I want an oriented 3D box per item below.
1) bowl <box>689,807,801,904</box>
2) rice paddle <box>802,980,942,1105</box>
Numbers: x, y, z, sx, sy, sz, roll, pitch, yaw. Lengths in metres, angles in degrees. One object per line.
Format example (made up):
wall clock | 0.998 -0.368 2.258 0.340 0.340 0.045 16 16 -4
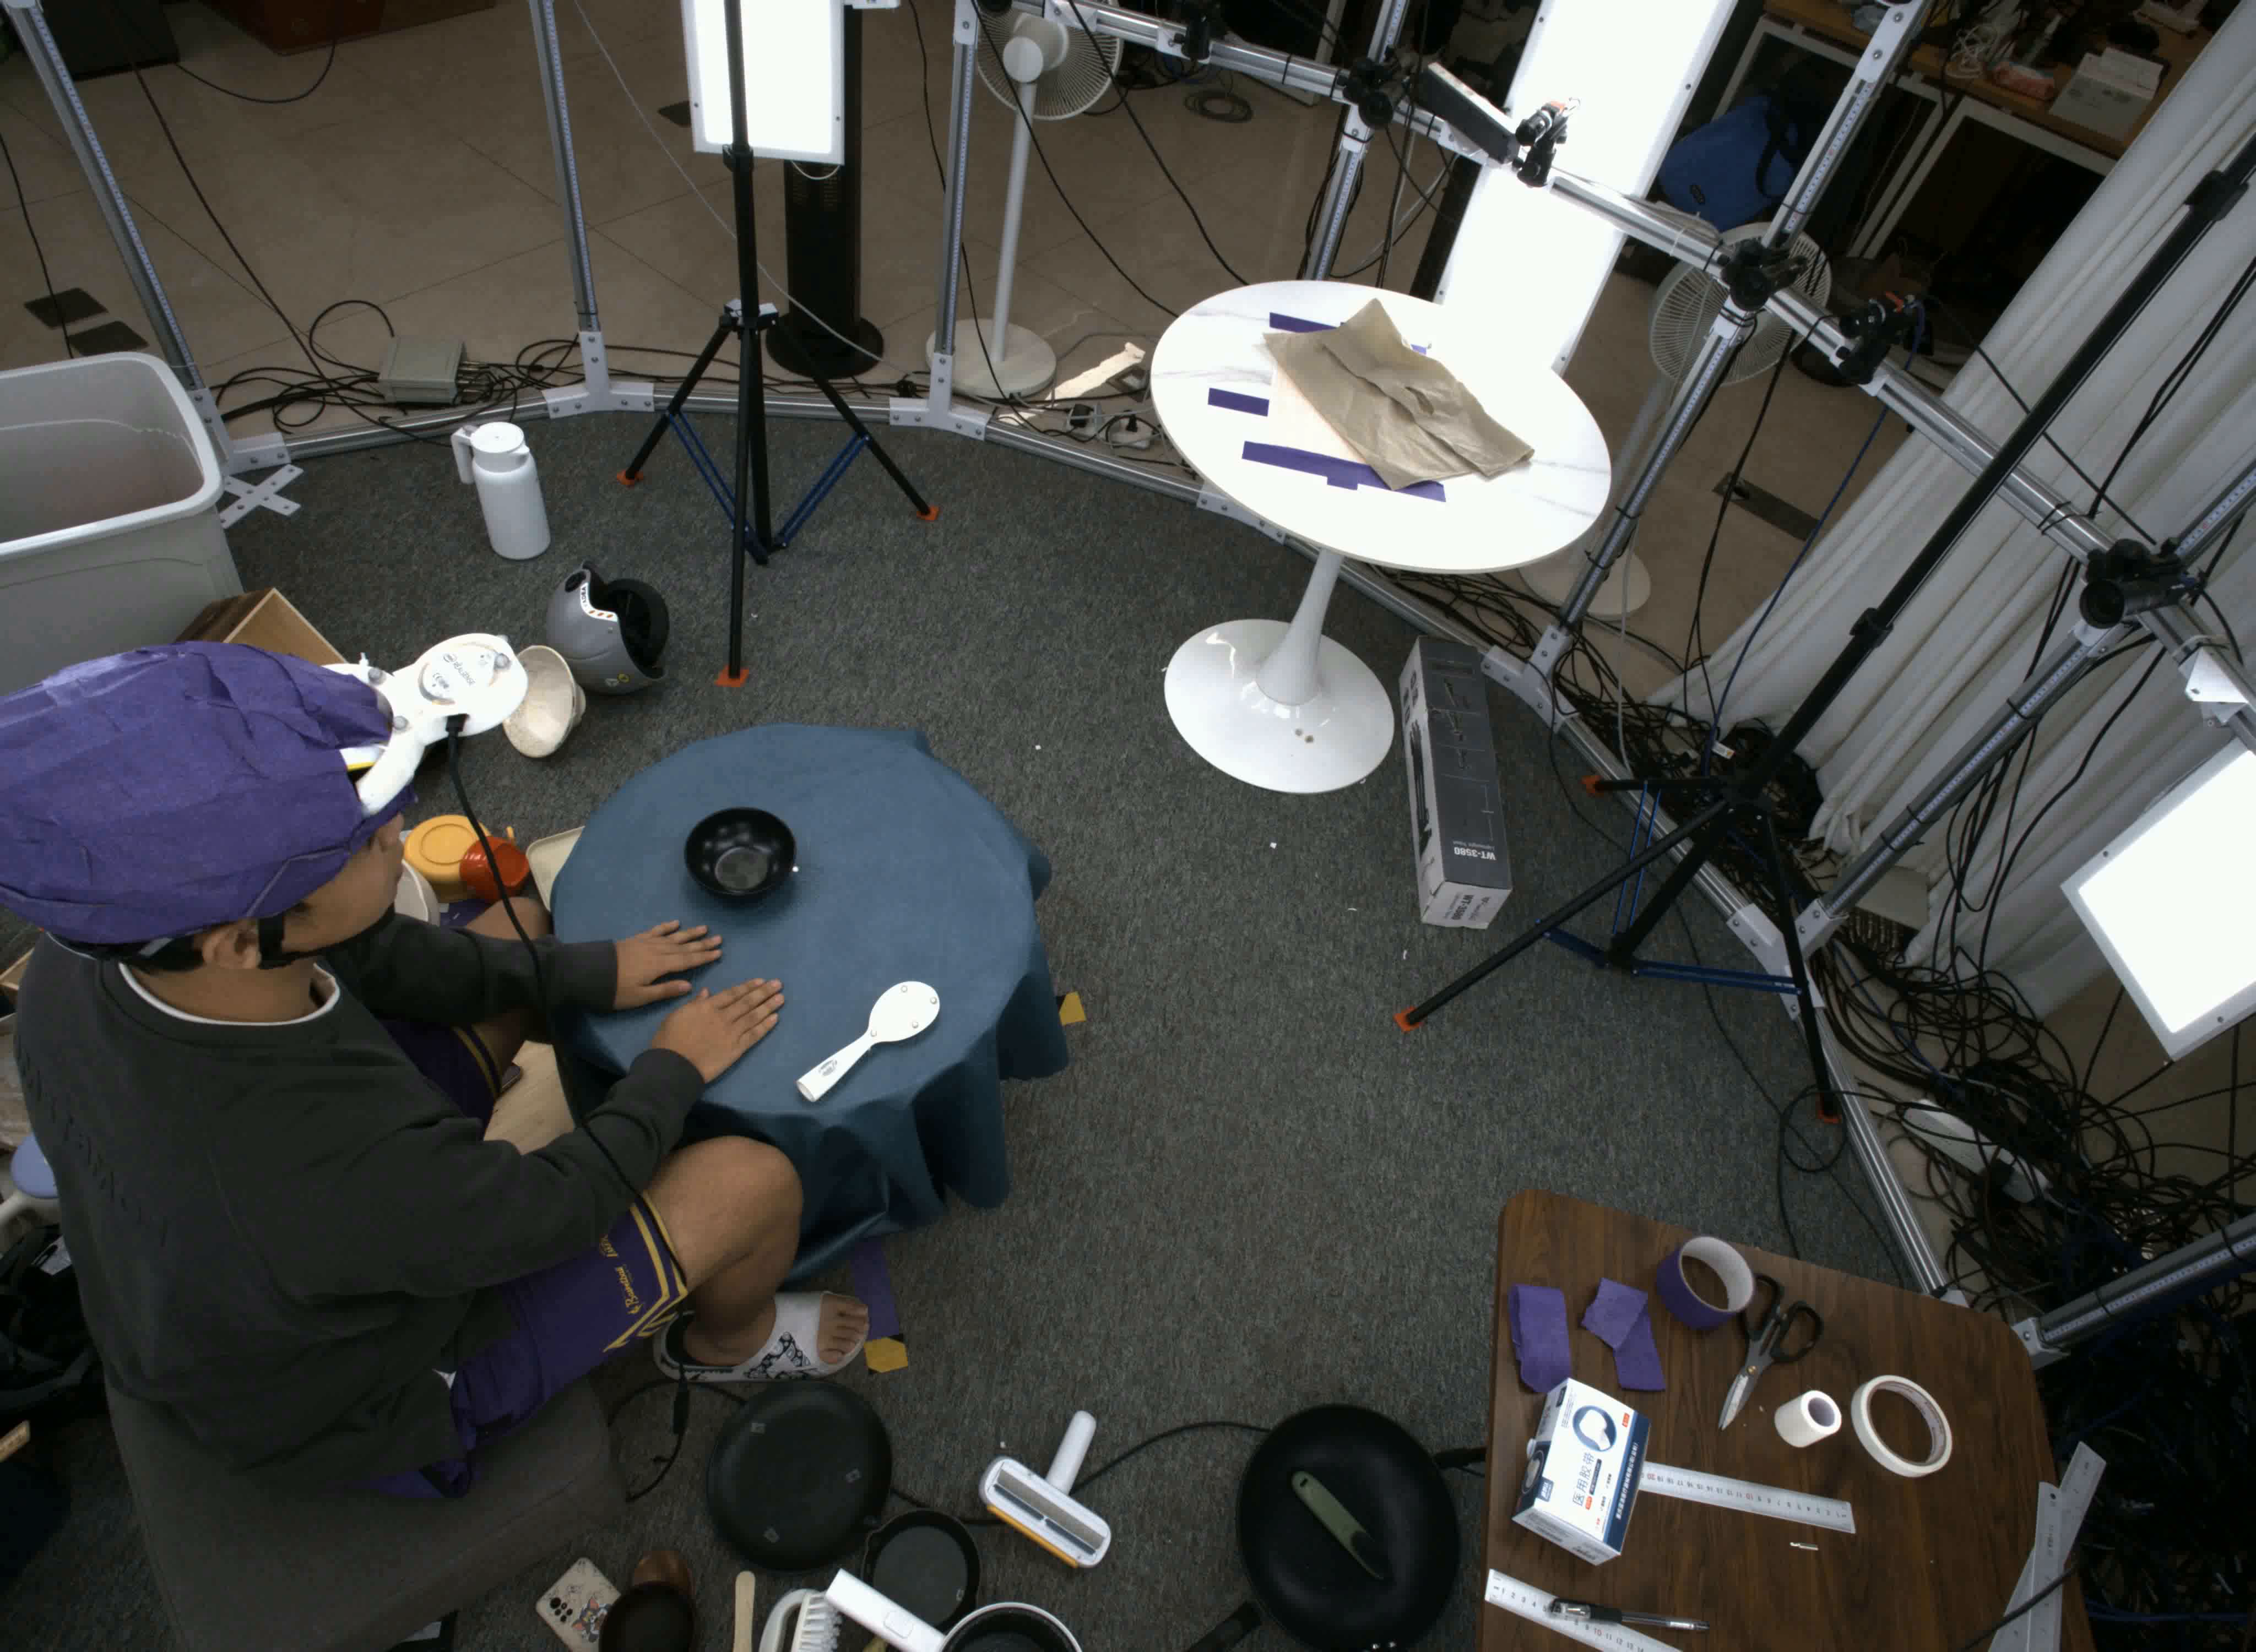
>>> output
bowl | -0.487 0.044 1.650 0.140 0.051 0.137 7 54 -9
rice paddle | -0.303 0.251 1.553 0.067 0.030 0.205 39 55 14
